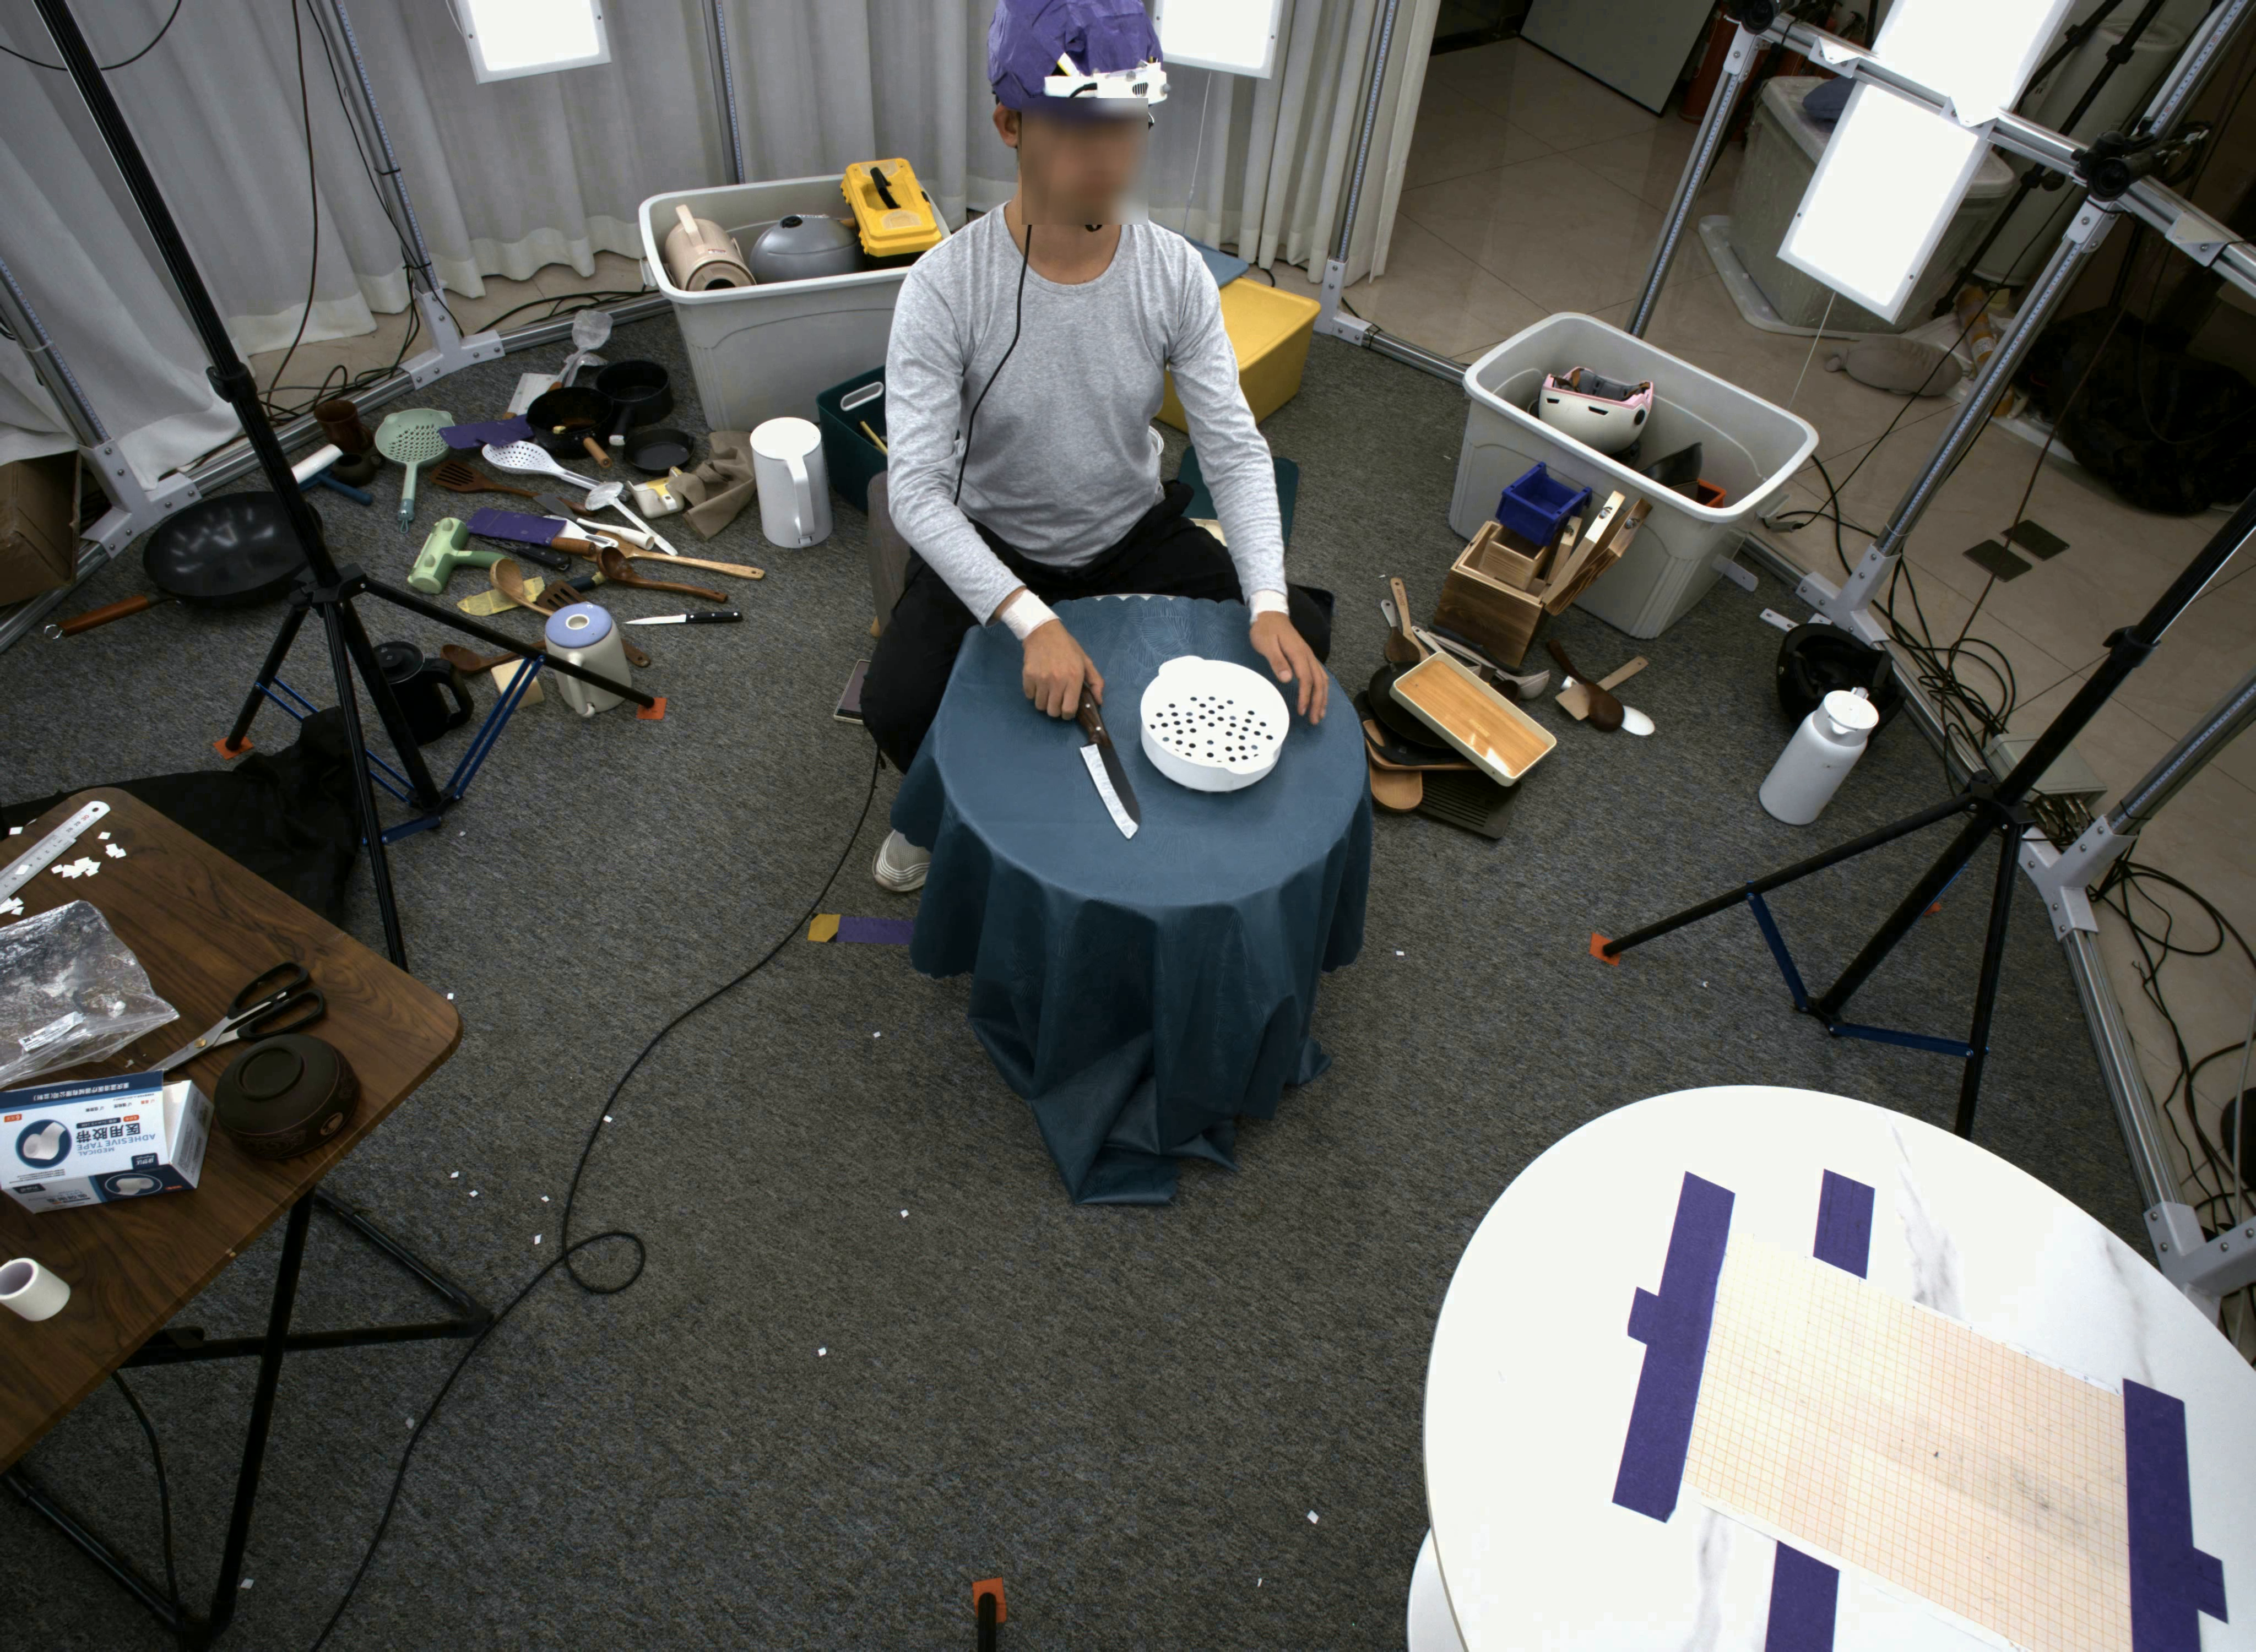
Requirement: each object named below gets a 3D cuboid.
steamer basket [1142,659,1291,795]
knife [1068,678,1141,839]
[{"bbox_3d":[0.118,-0.131,1.746,0.202,0.067,0.236,-18,52,-19],"label":"steamer basket"},{"bbox_3d":[-0.035,-0.095,1.737,0.050,0.019,0.296,-13,53,-8],"label":"knife"}]
